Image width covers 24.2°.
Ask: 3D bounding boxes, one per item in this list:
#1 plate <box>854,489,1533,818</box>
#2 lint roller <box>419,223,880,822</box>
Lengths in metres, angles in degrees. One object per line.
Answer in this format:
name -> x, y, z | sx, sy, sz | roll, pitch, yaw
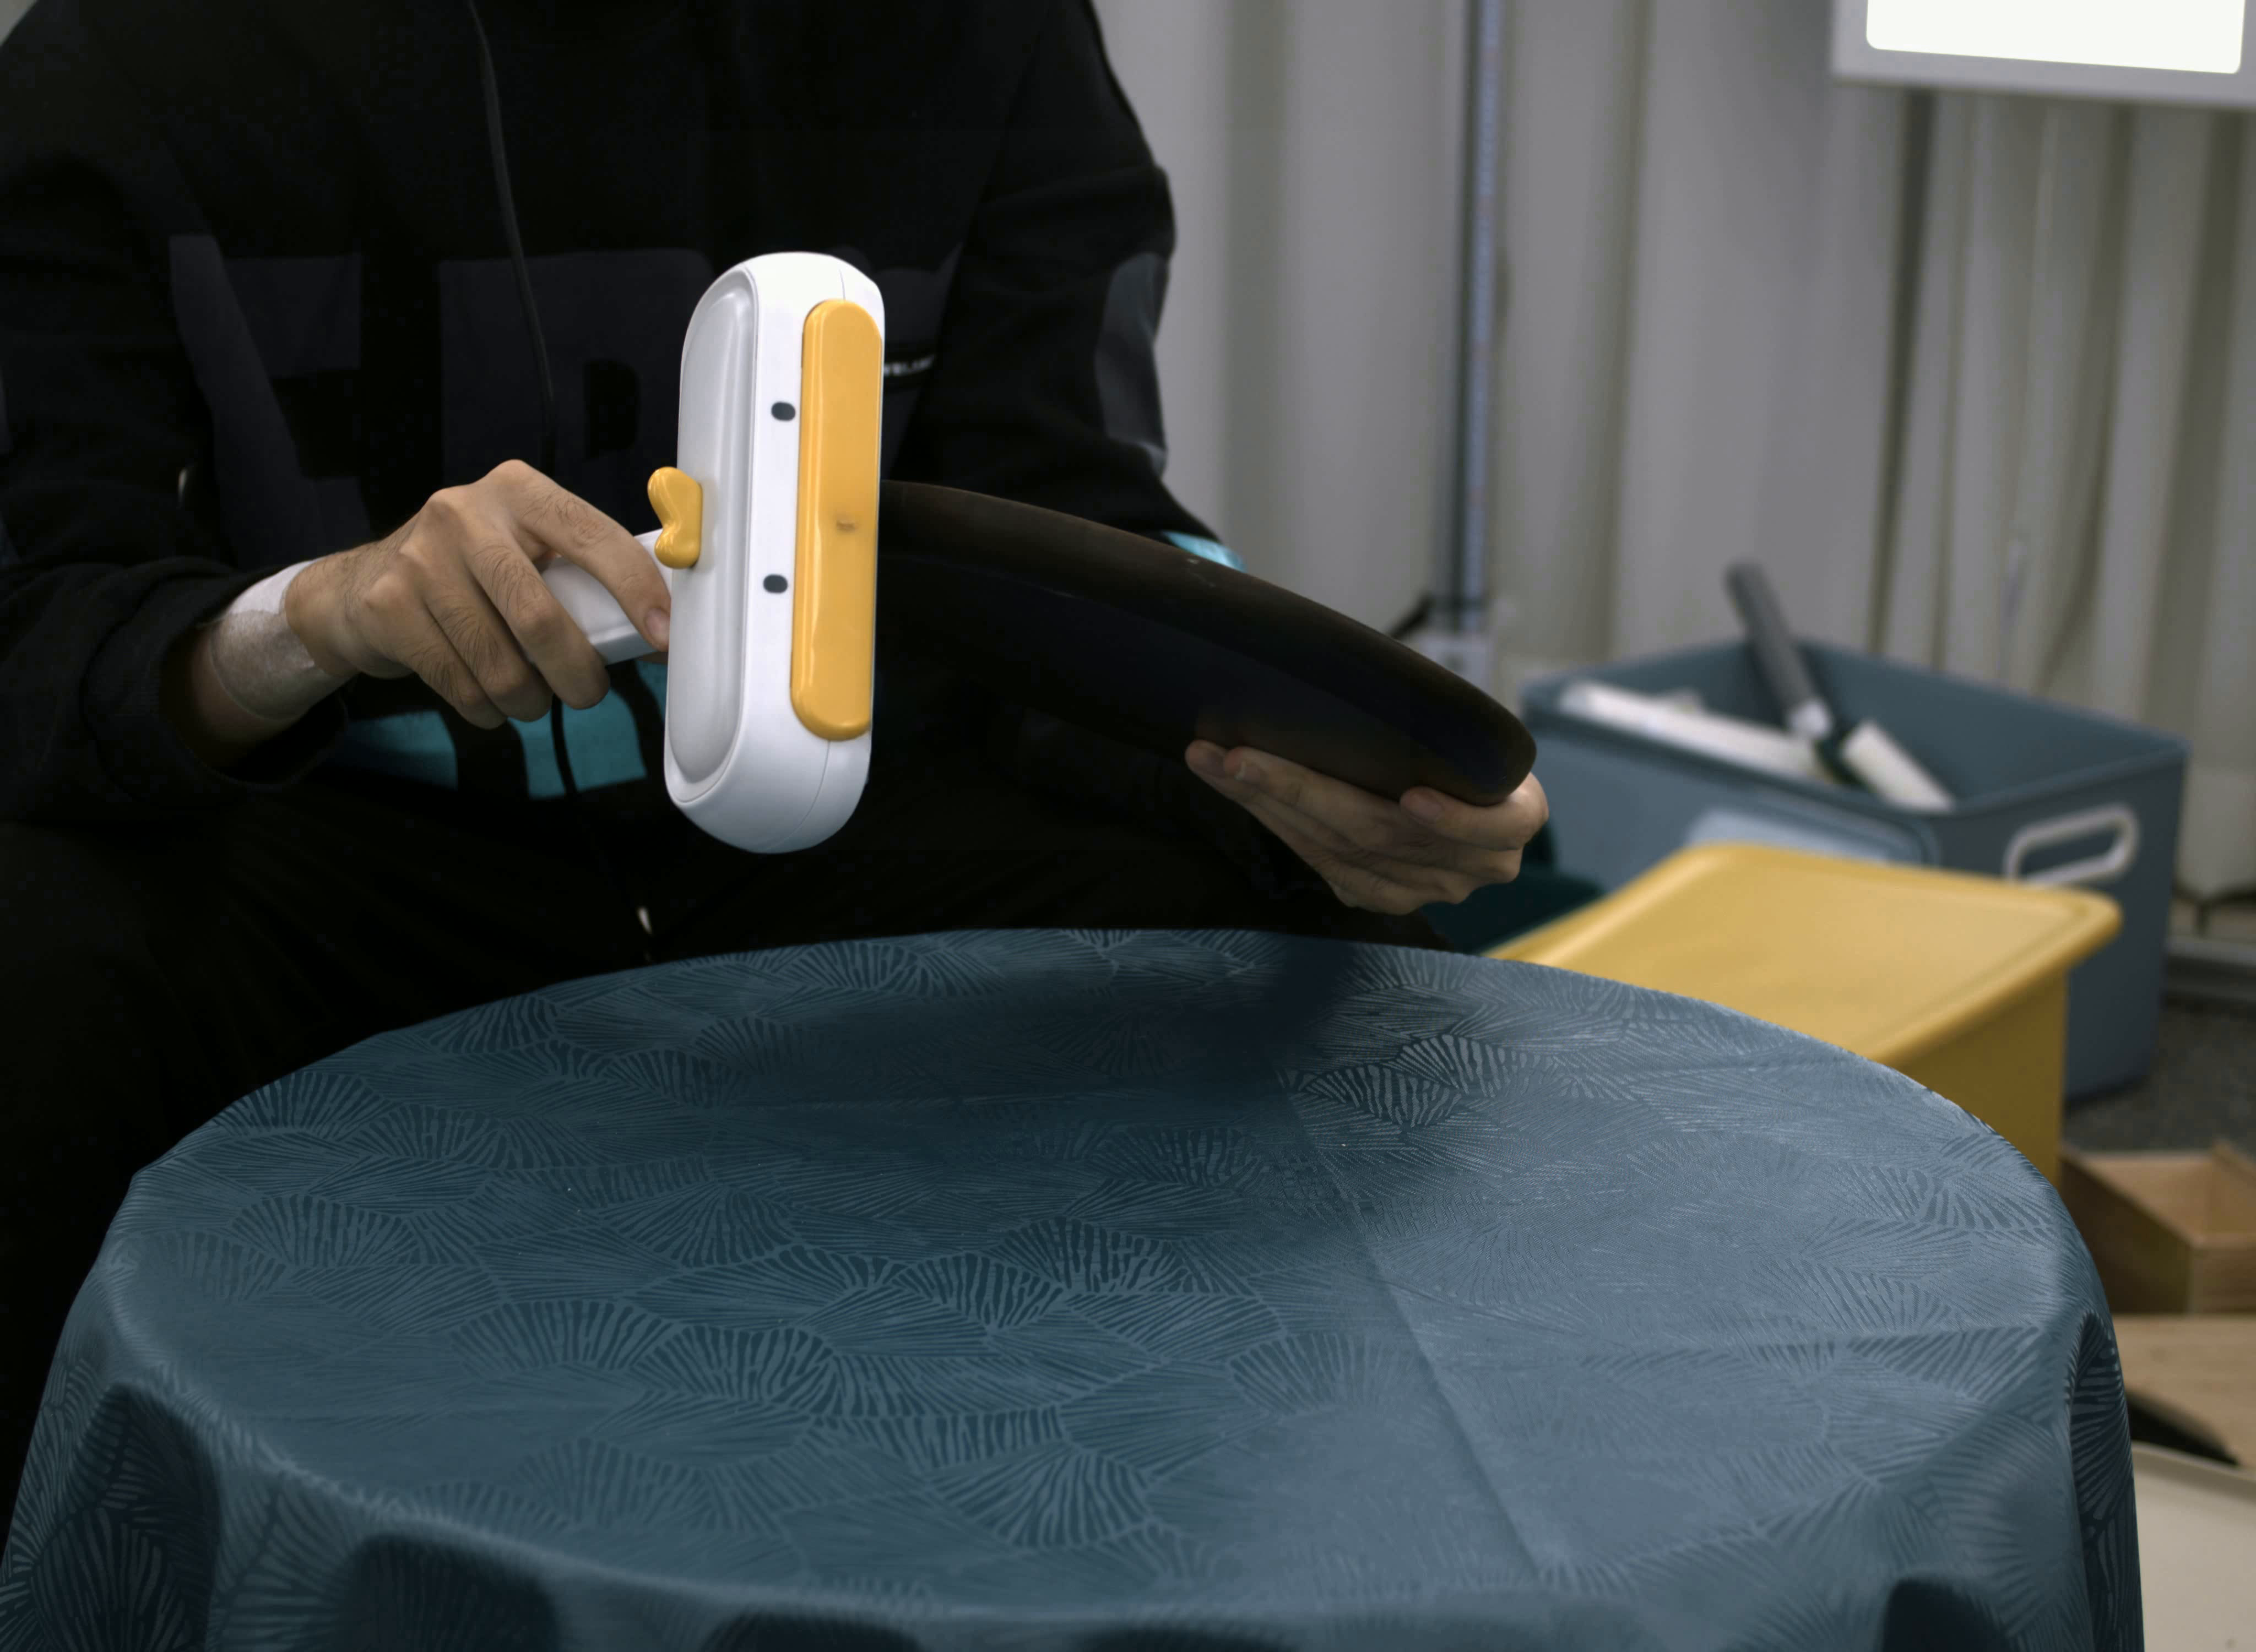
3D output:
plate -> 0.009, -0.054, 1.715 | 0.254, 0.029, 0.256 | 18, -11, 4
lint roller -> -0.151, -0.077, 1.668 | 0.075, 0.192, 0.191 | 10, -25, -39
